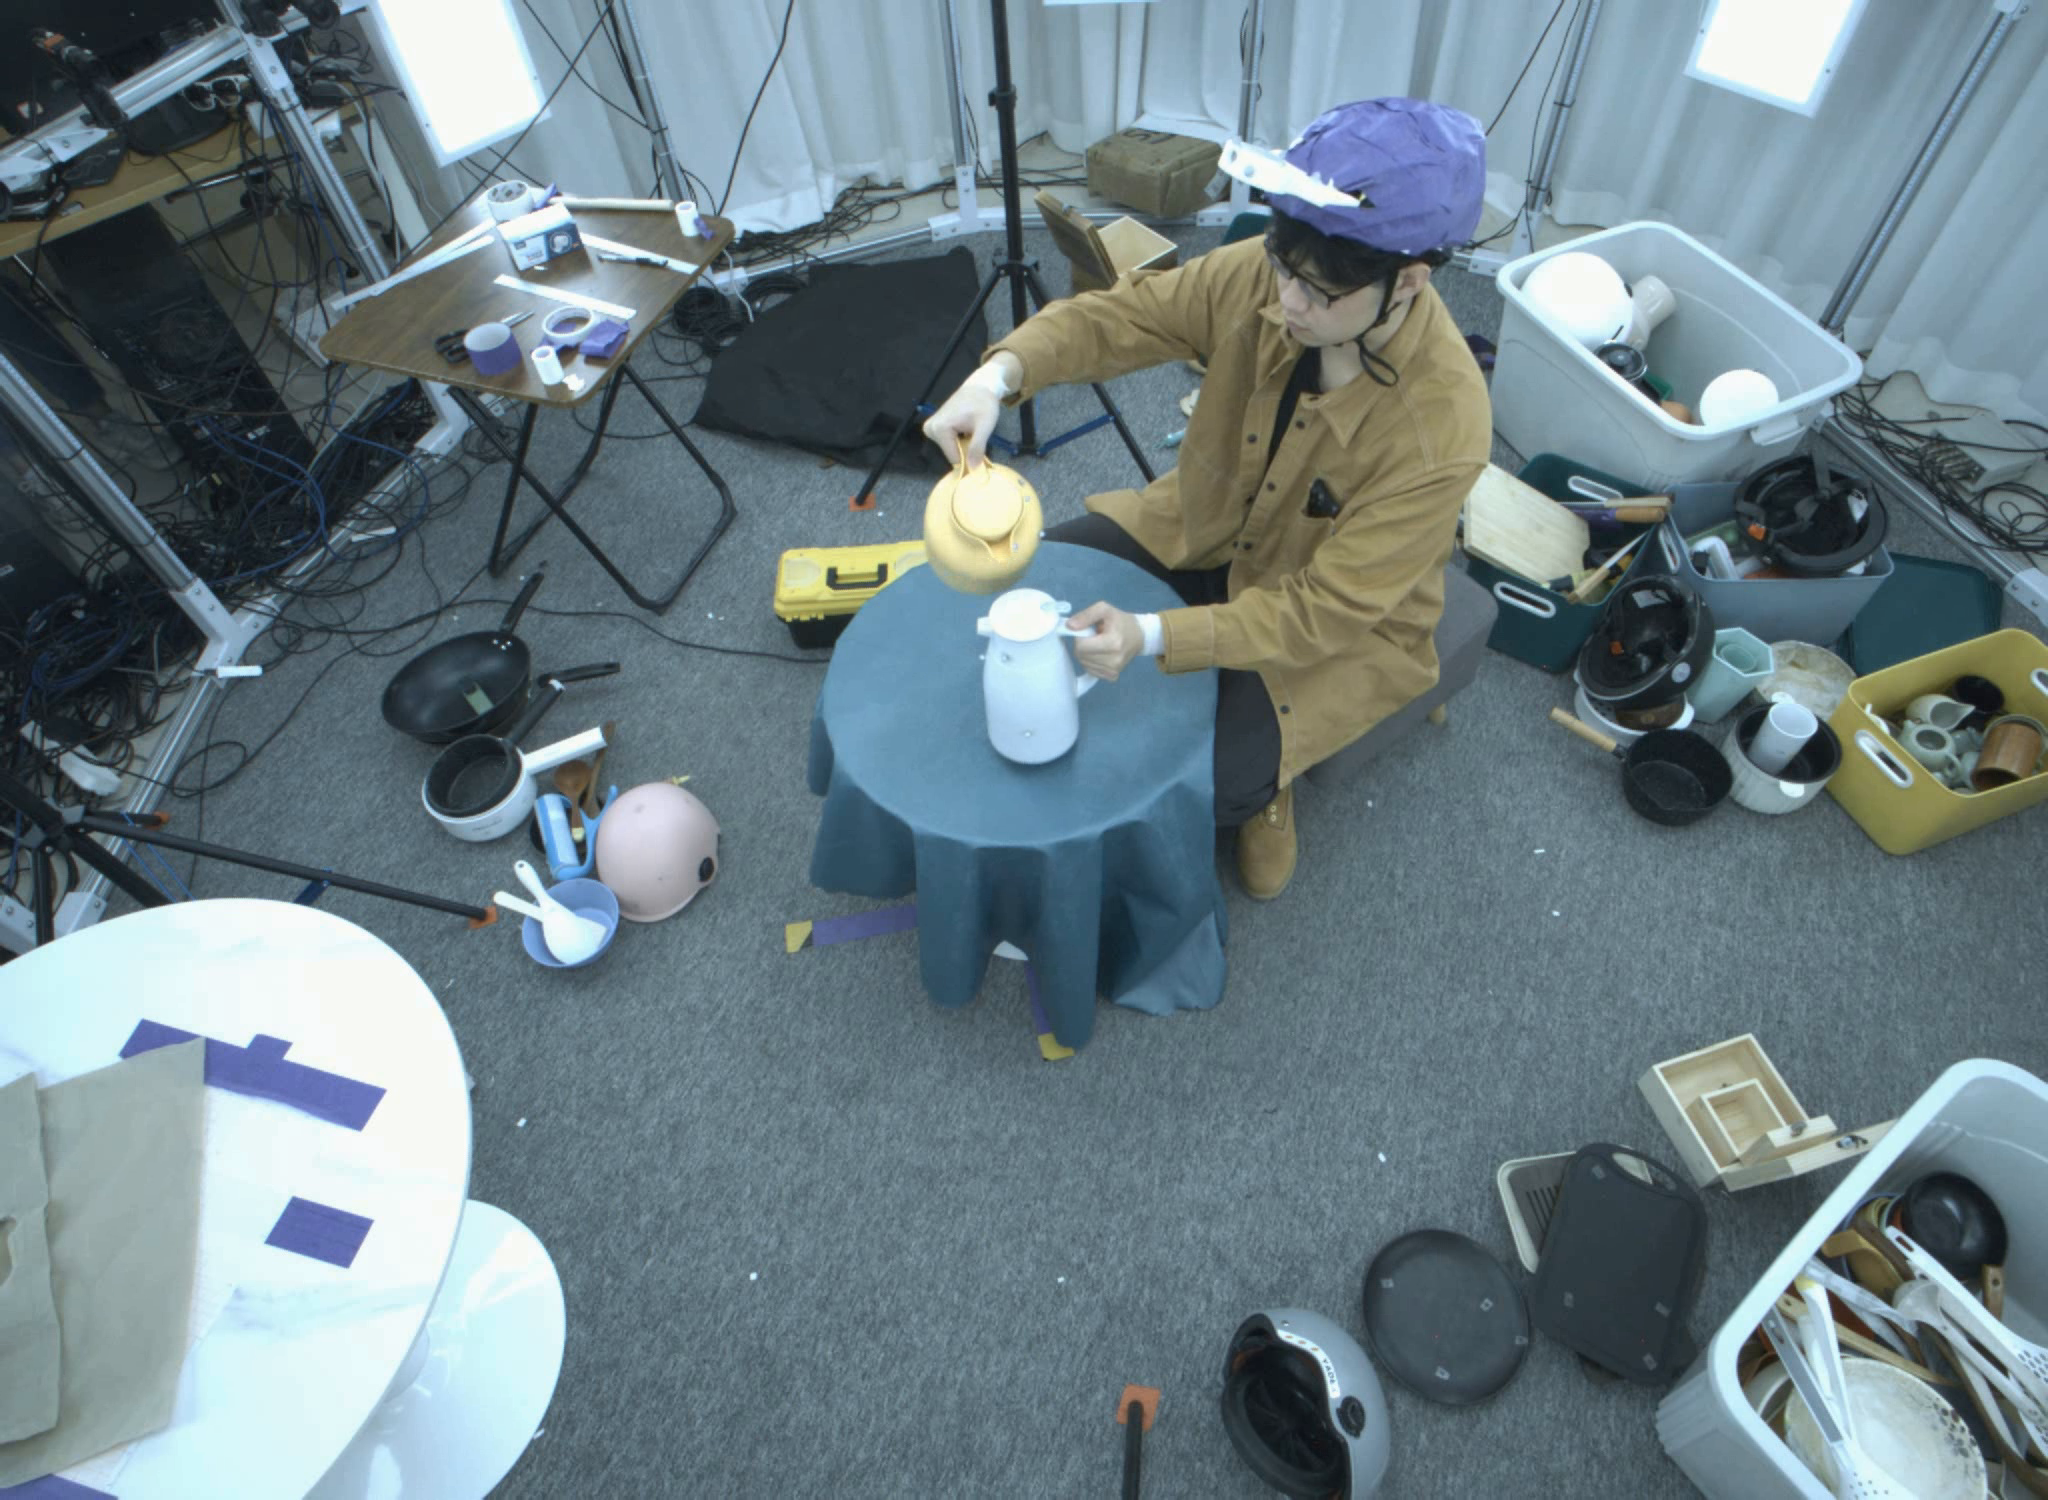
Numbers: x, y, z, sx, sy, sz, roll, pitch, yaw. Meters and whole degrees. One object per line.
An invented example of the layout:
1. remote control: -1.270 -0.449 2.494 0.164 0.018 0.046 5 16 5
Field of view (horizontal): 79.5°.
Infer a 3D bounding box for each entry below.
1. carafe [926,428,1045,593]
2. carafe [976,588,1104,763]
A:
1. carafe: -0.057 -0.326 1.658 0.164 0.259 0.202 -15 91 -5
2. carafe: 0.025 -0.109 1.676 0.168 0.251 0.131 -4 54 -1
